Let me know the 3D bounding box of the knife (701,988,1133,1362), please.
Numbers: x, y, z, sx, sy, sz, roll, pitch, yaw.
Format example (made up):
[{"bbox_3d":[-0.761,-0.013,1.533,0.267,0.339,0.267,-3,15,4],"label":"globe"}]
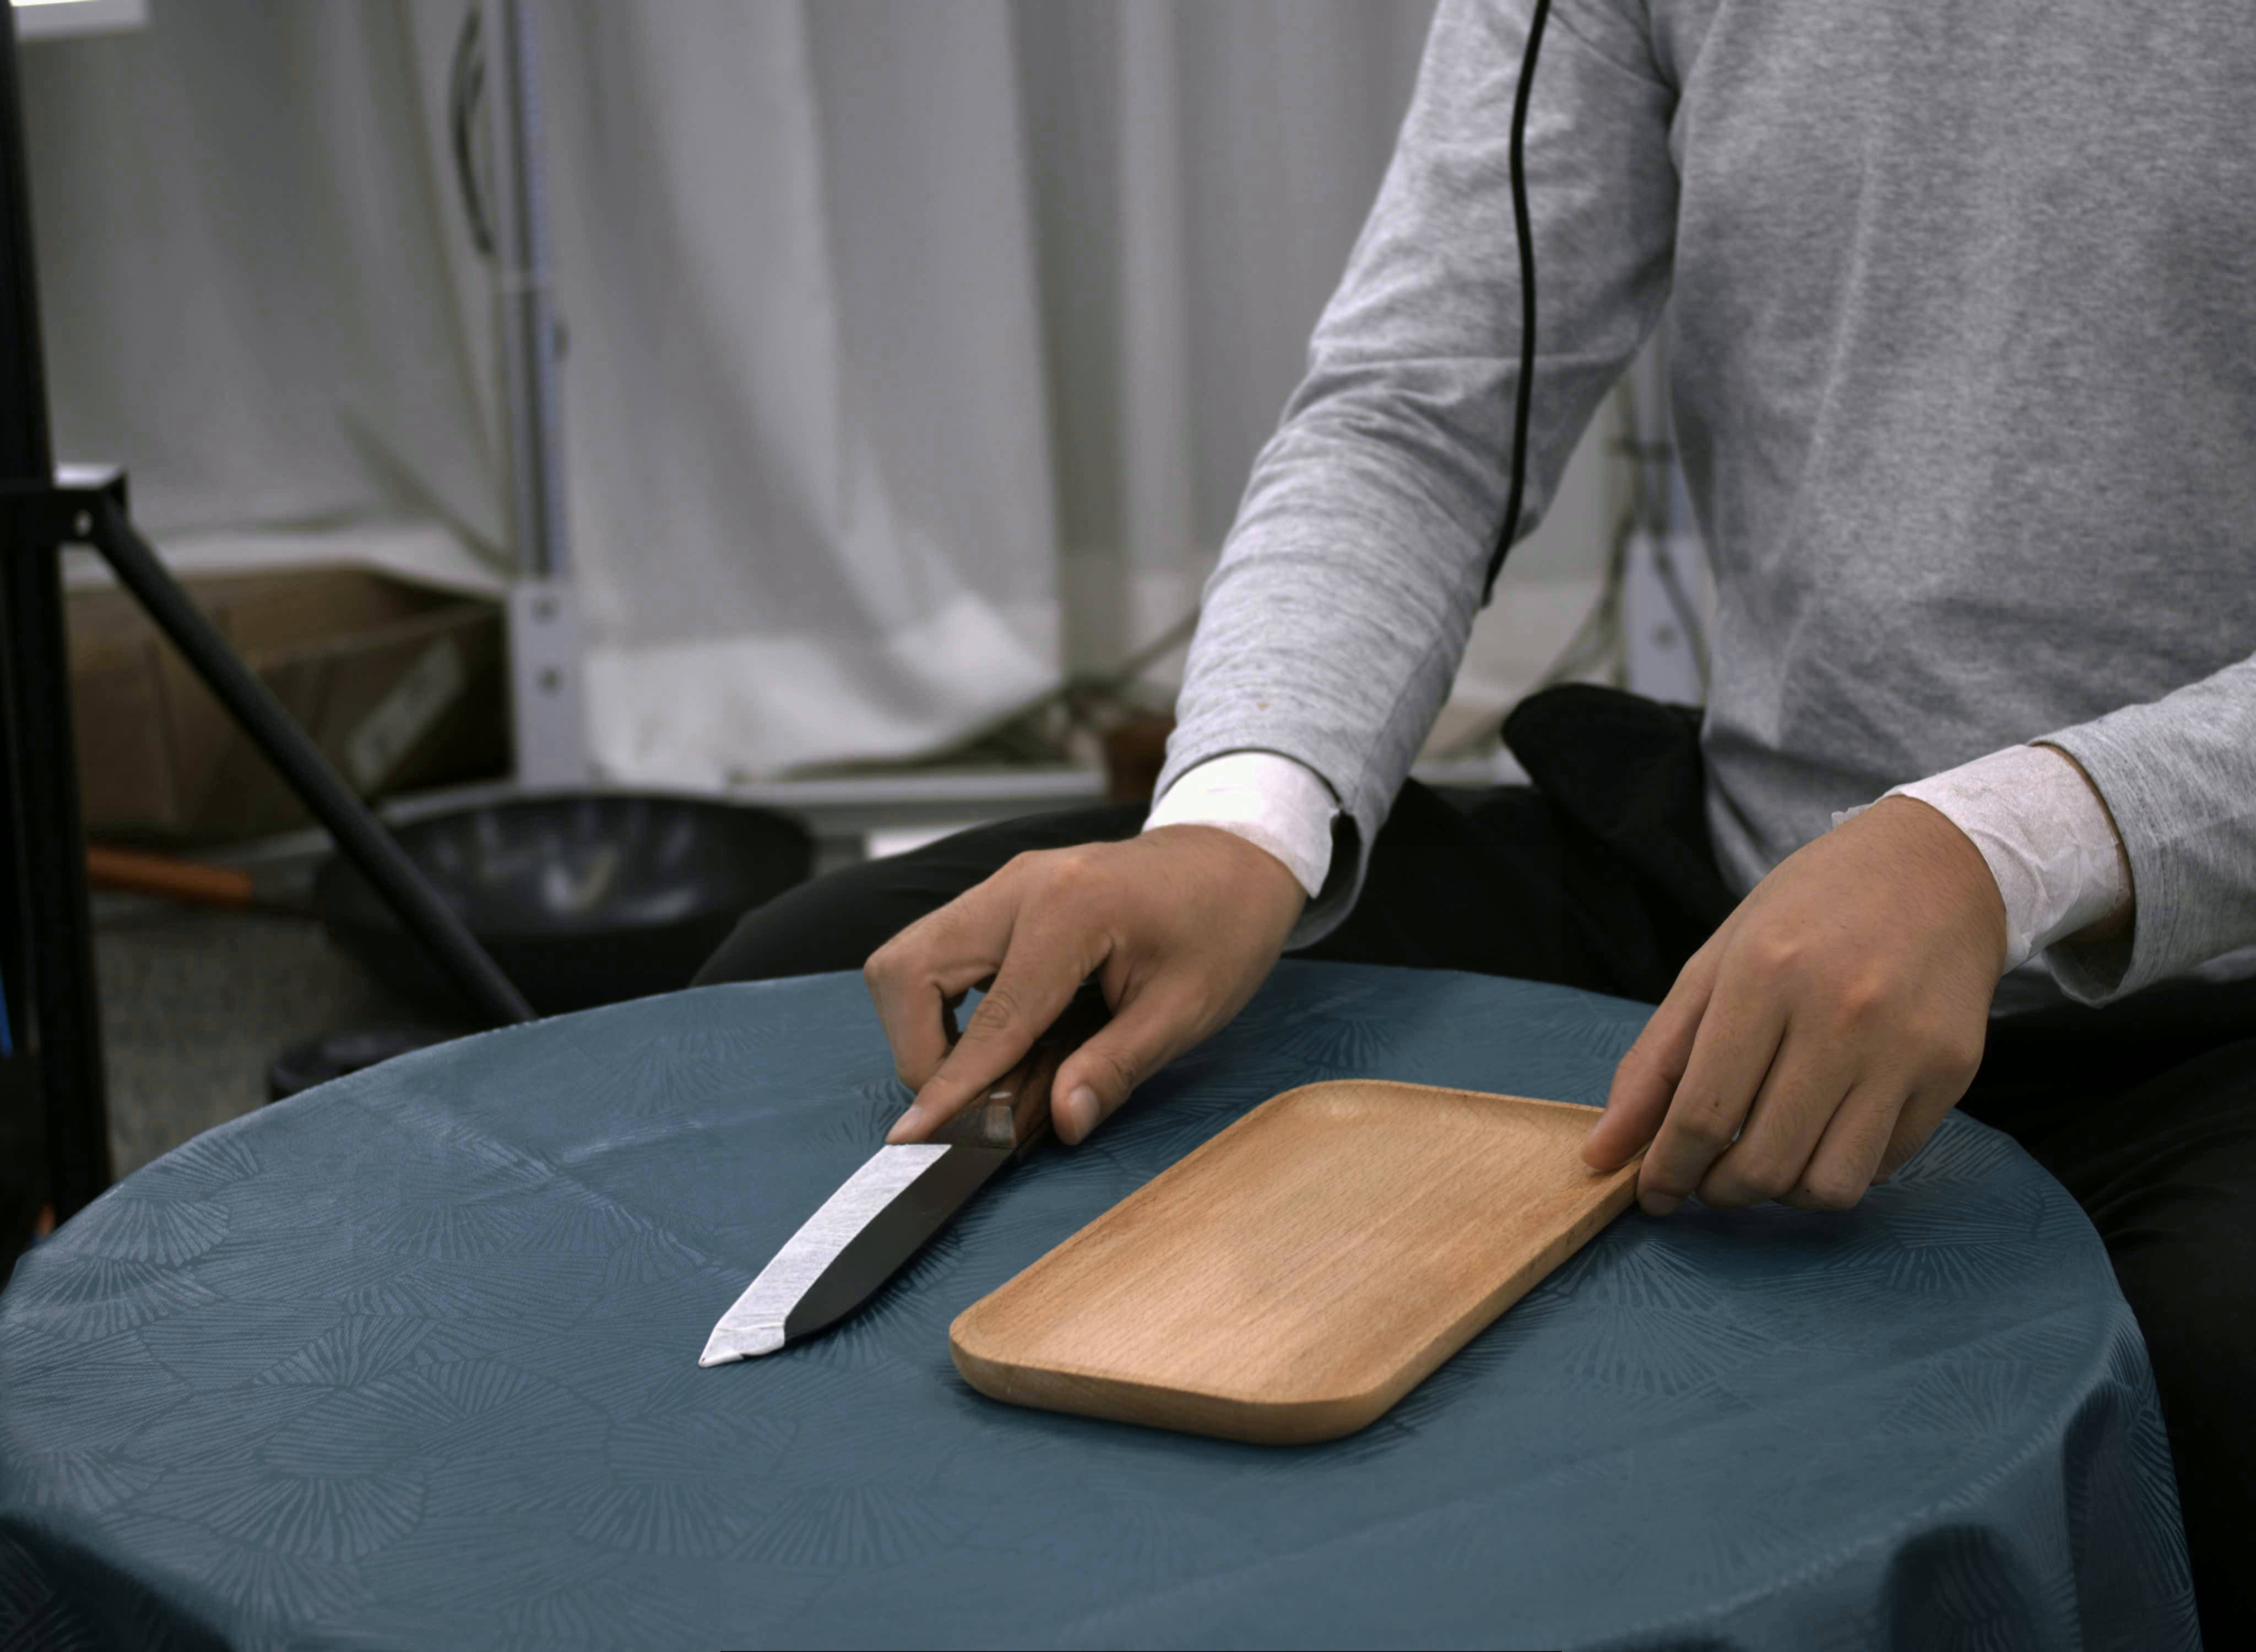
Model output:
[{"bbox_3d":[-0.058,0.102,1.564,0.051,0.020,0.285,-3,17,24],"label":"knife"}]

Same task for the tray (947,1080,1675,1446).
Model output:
[{"bbox_3d":[0.056,0.119,1.484,0.133,0.023,0.246,9,18,28],"label":"tray"}]
